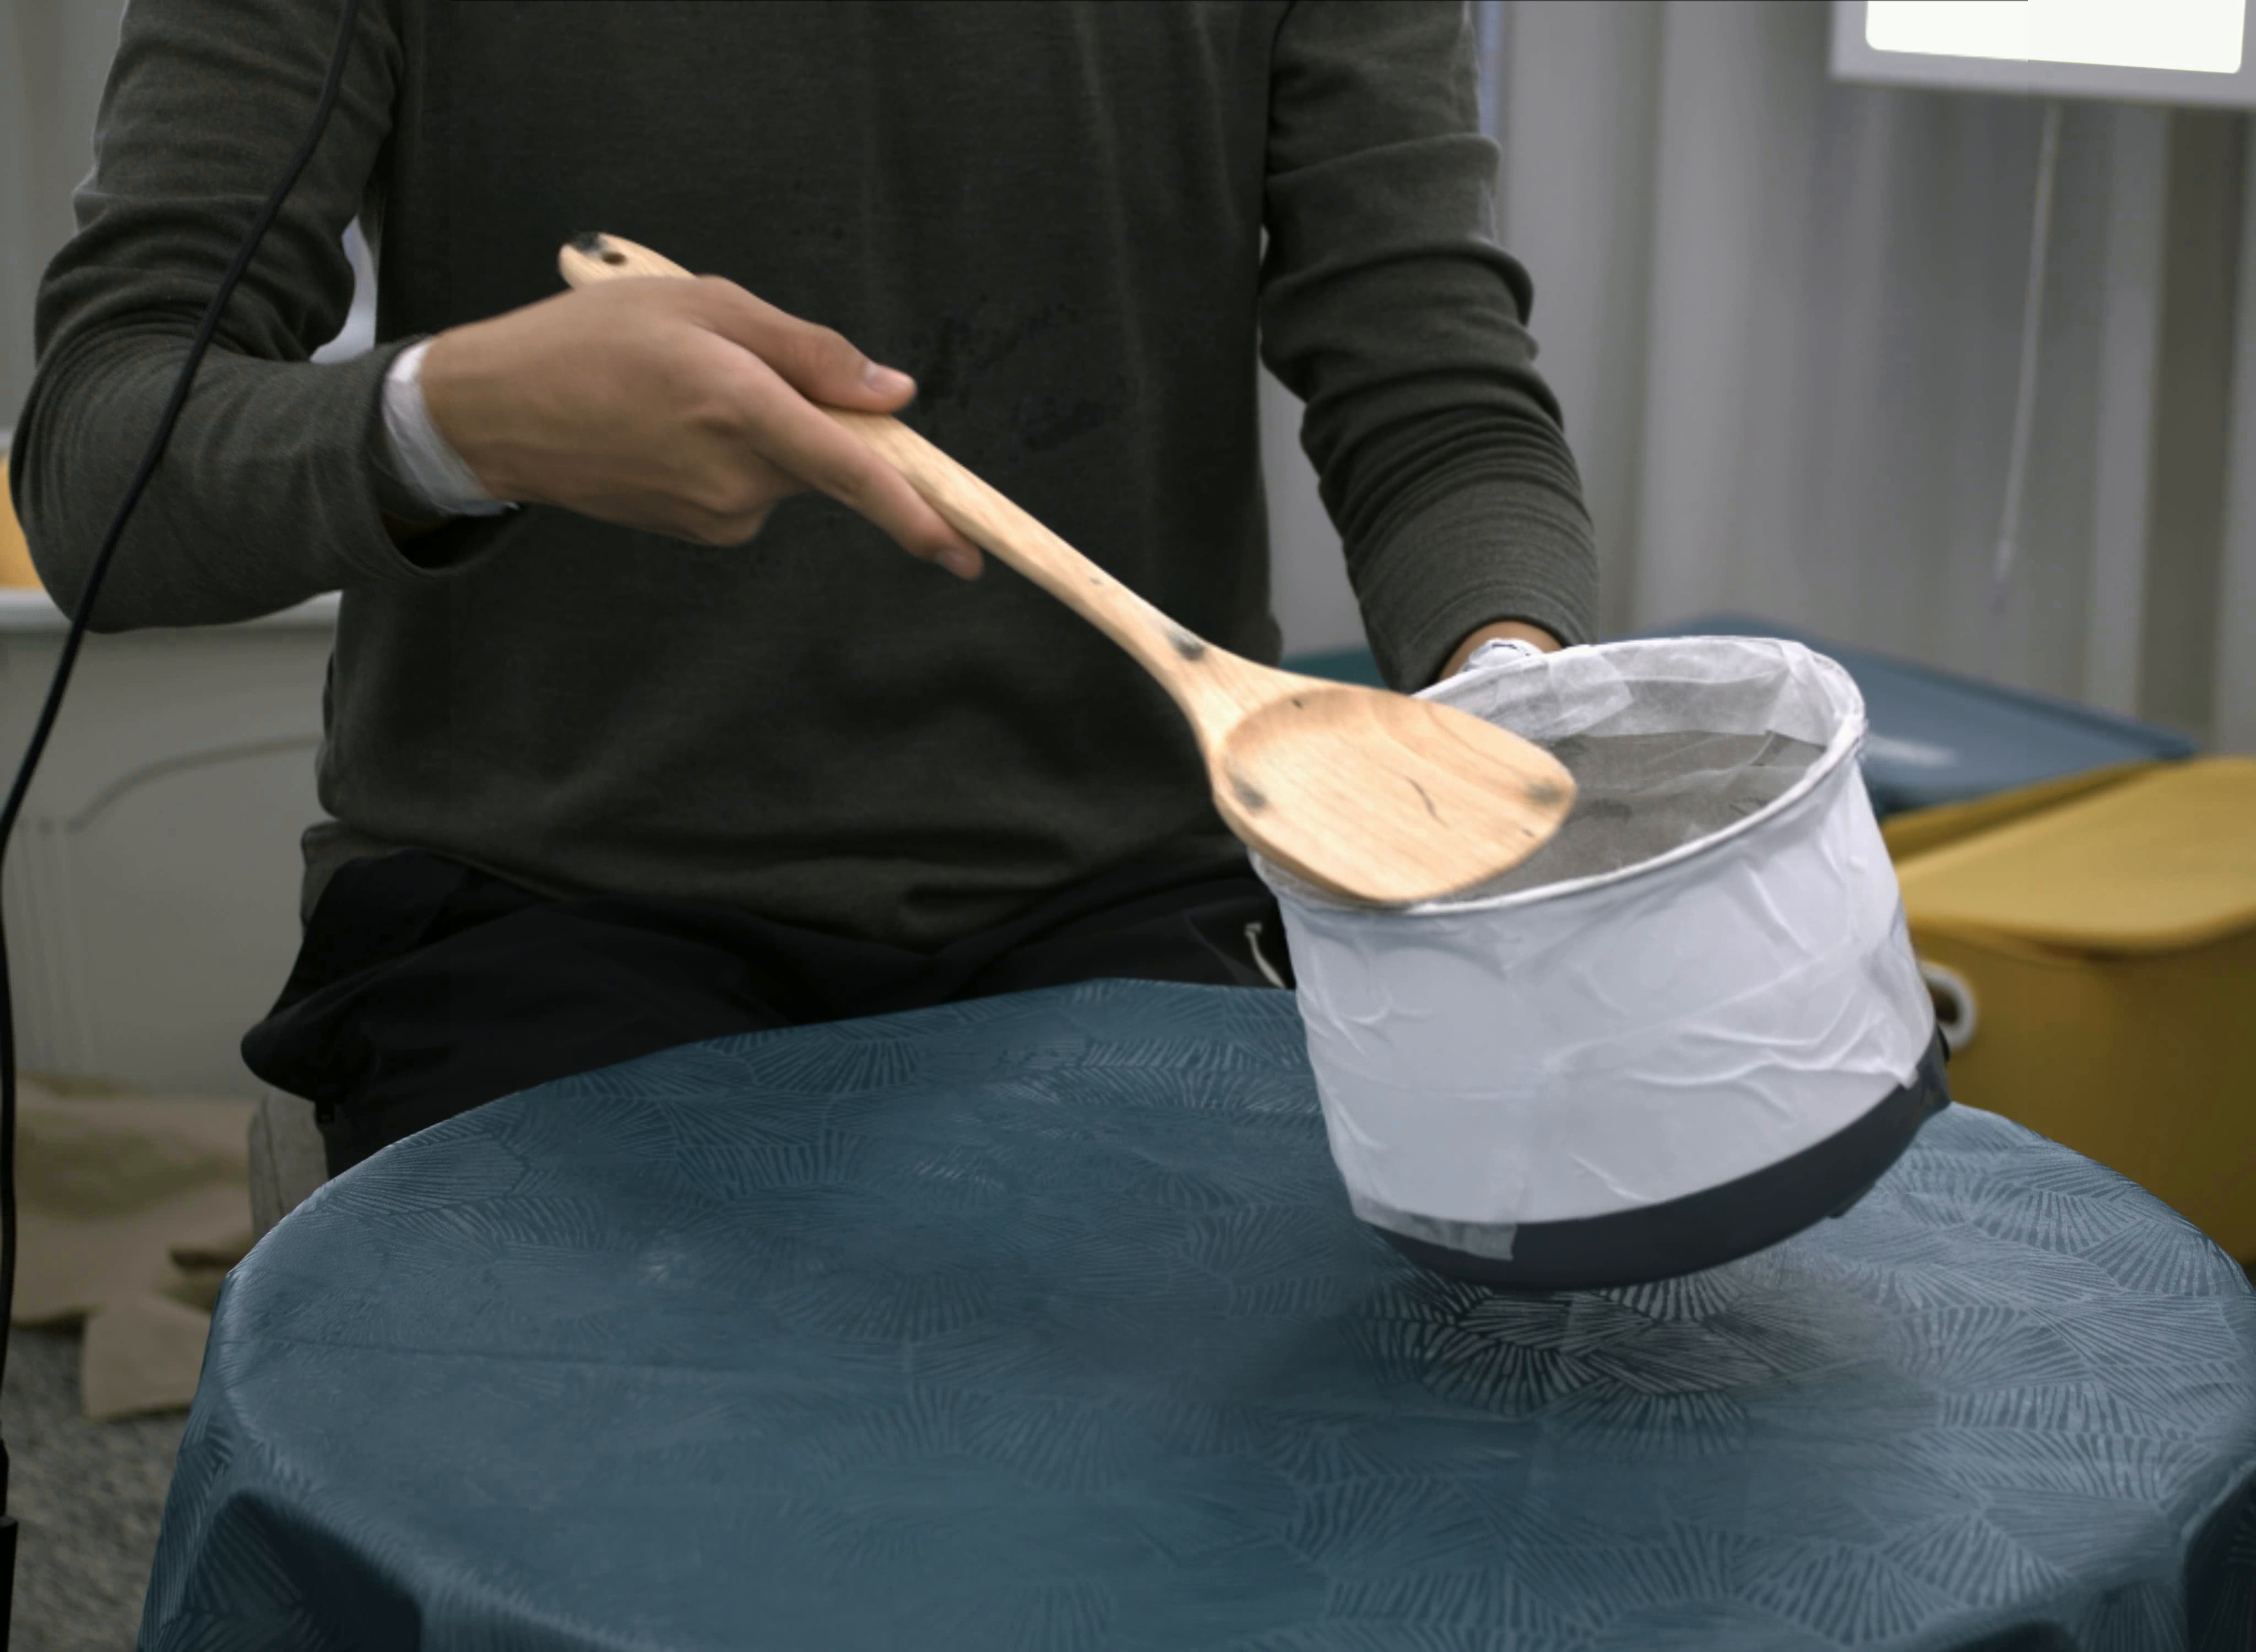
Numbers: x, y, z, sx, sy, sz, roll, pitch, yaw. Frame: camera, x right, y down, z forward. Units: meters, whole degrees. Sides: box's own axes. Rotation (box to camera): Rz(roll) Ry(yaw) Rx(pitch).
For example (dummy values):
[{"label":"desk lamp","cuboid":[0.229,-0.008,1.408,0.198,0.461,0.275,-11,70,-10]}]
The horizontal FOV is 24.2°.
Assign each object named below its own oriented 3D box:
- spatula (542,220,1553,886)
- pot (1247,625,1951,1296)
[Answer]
[{"label":"spatula","cuboid":[-0.041,-0.086,1.507,0.386,0.018,0.096,36,42,29]},{"label":"pot","cuboid":[0.131,0.029,1.510,0.178,0.138,0.231,-15,22,-1]}]
